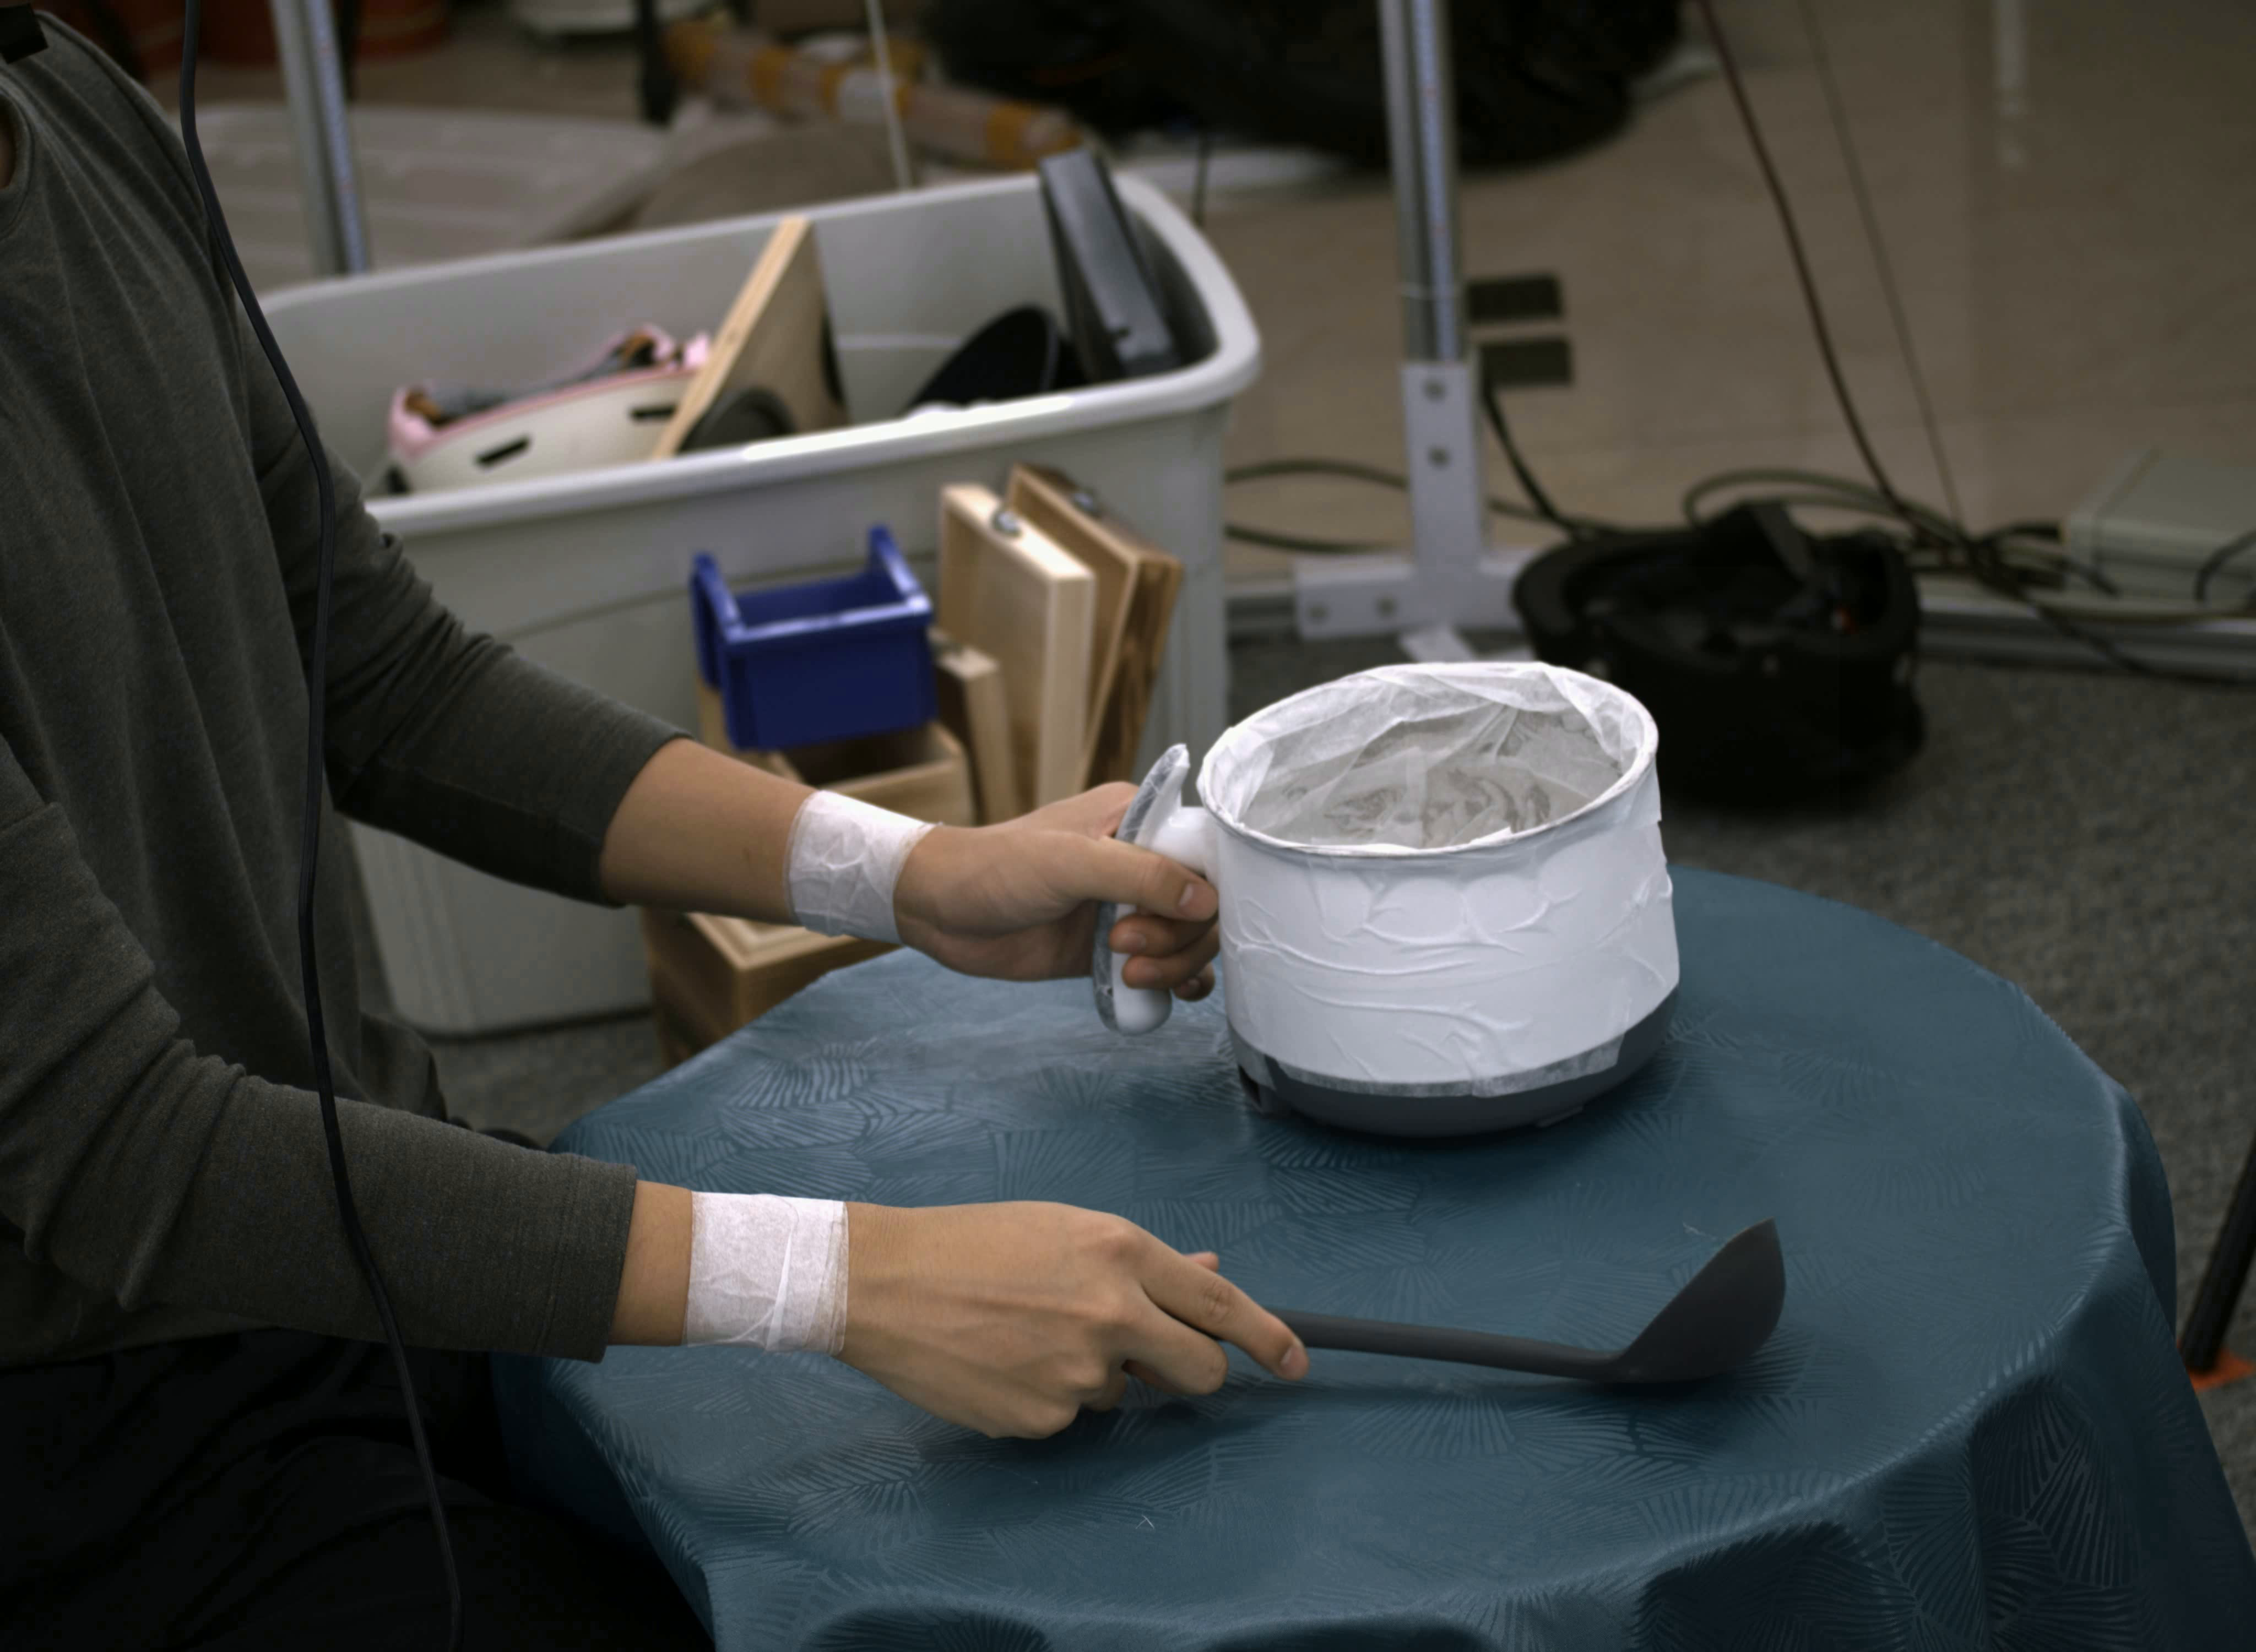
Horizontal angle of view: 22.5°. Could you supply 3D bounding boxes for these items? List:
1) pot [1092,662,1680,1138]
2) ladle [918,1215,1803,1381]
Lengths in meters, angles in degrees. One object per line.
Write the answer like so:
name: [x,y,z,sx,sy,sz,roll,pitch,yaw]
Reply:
pot: [0.096,0.030,2.196,0.233,0.139,0.176,0,26,15]
ladle: [0.080,0.155,1.999,0.313,0.064,0.086,4,-7,12]
